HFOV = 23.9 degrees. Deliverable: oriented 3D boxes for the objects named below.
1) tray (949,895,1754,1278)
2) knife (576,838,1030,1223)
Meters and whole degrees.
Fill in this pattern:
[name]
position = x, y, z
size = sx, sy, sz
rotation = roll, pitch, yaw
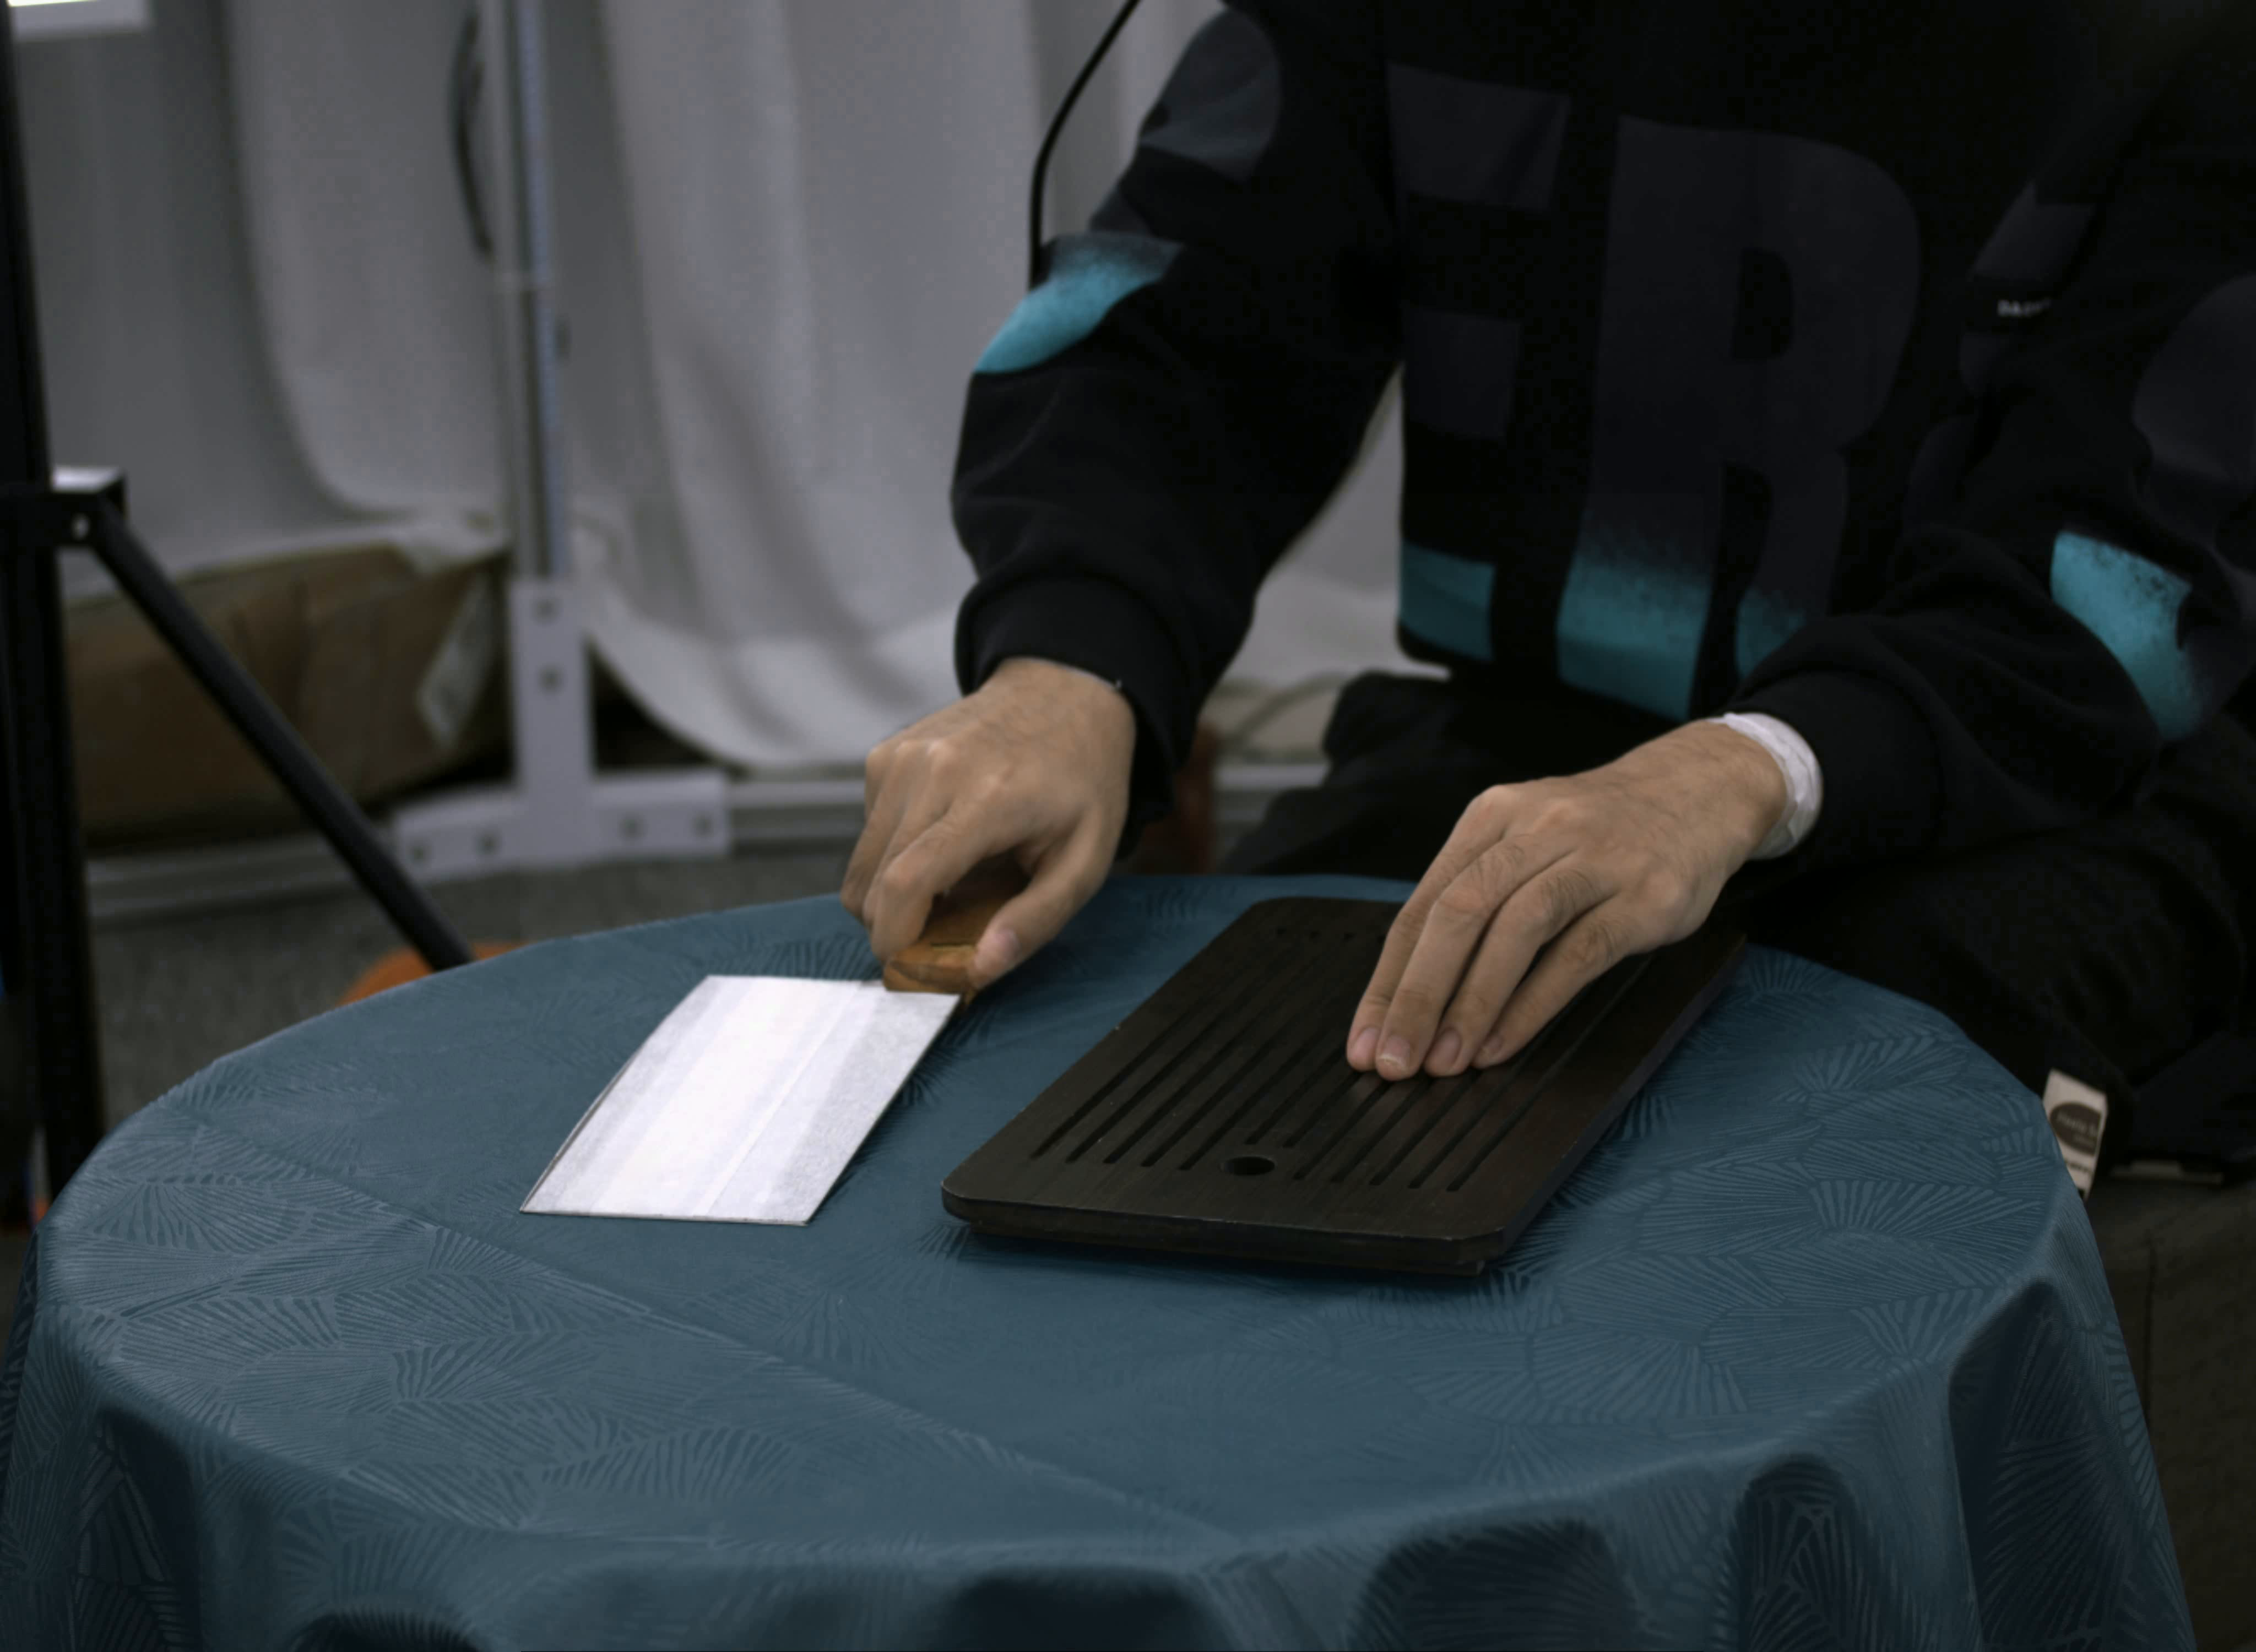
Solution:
[tray]
position = 0.076, 0.077, 1.622
size = 0.172, 0.018, 0.302
rotation = 3, 17, 21
[knife]
position = -0.102, 0.063, 1.693
size = 0.093, 0.021, 0.304
rotation = 1, 20, 13
